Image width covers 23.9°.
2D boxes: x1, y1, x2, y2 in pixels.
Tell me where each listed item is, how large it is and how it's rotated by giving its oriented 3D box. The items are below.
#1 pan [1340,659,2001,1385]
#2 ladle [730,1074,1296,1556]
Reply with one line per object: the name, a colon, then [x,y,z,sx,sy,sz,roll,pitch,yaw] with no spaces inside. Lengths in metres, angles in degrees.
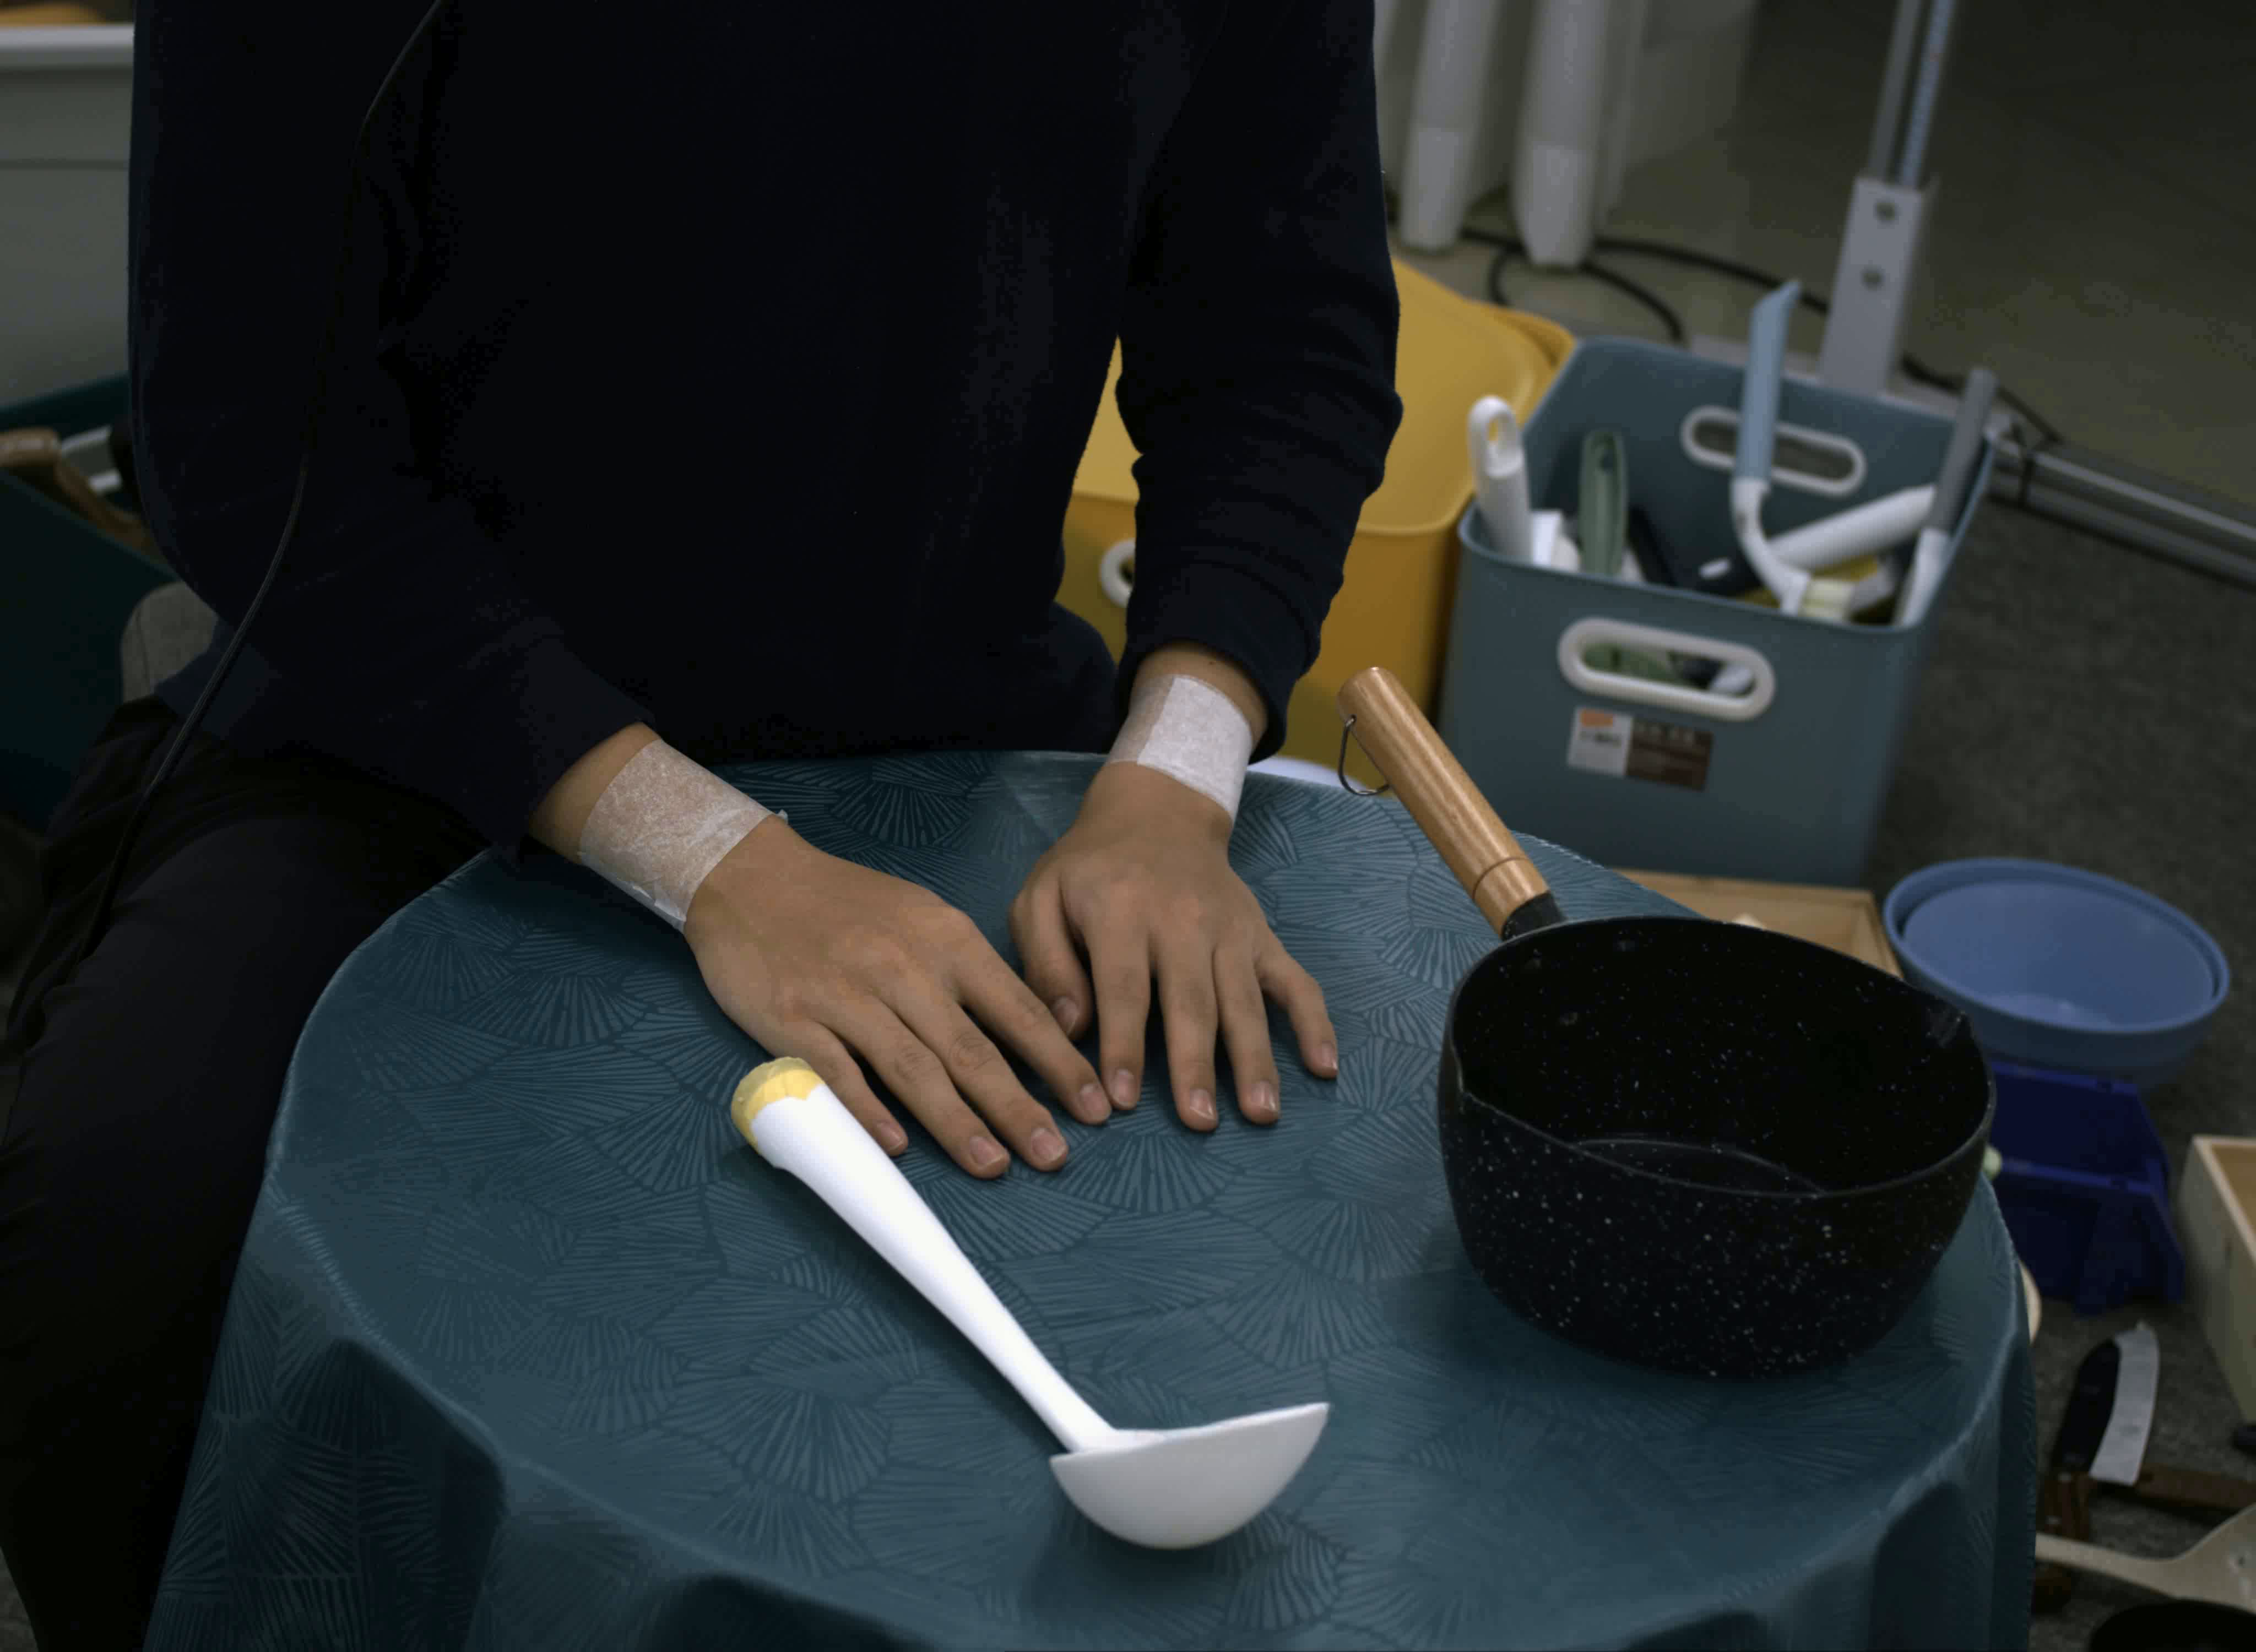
pan: [0.156,0.064,1.835,0.206,0.108,0.346,-10,32,-27]
ladle: [-0.049,0.143,1.684,0.089,0.069,0.295,-15,32,-26]
